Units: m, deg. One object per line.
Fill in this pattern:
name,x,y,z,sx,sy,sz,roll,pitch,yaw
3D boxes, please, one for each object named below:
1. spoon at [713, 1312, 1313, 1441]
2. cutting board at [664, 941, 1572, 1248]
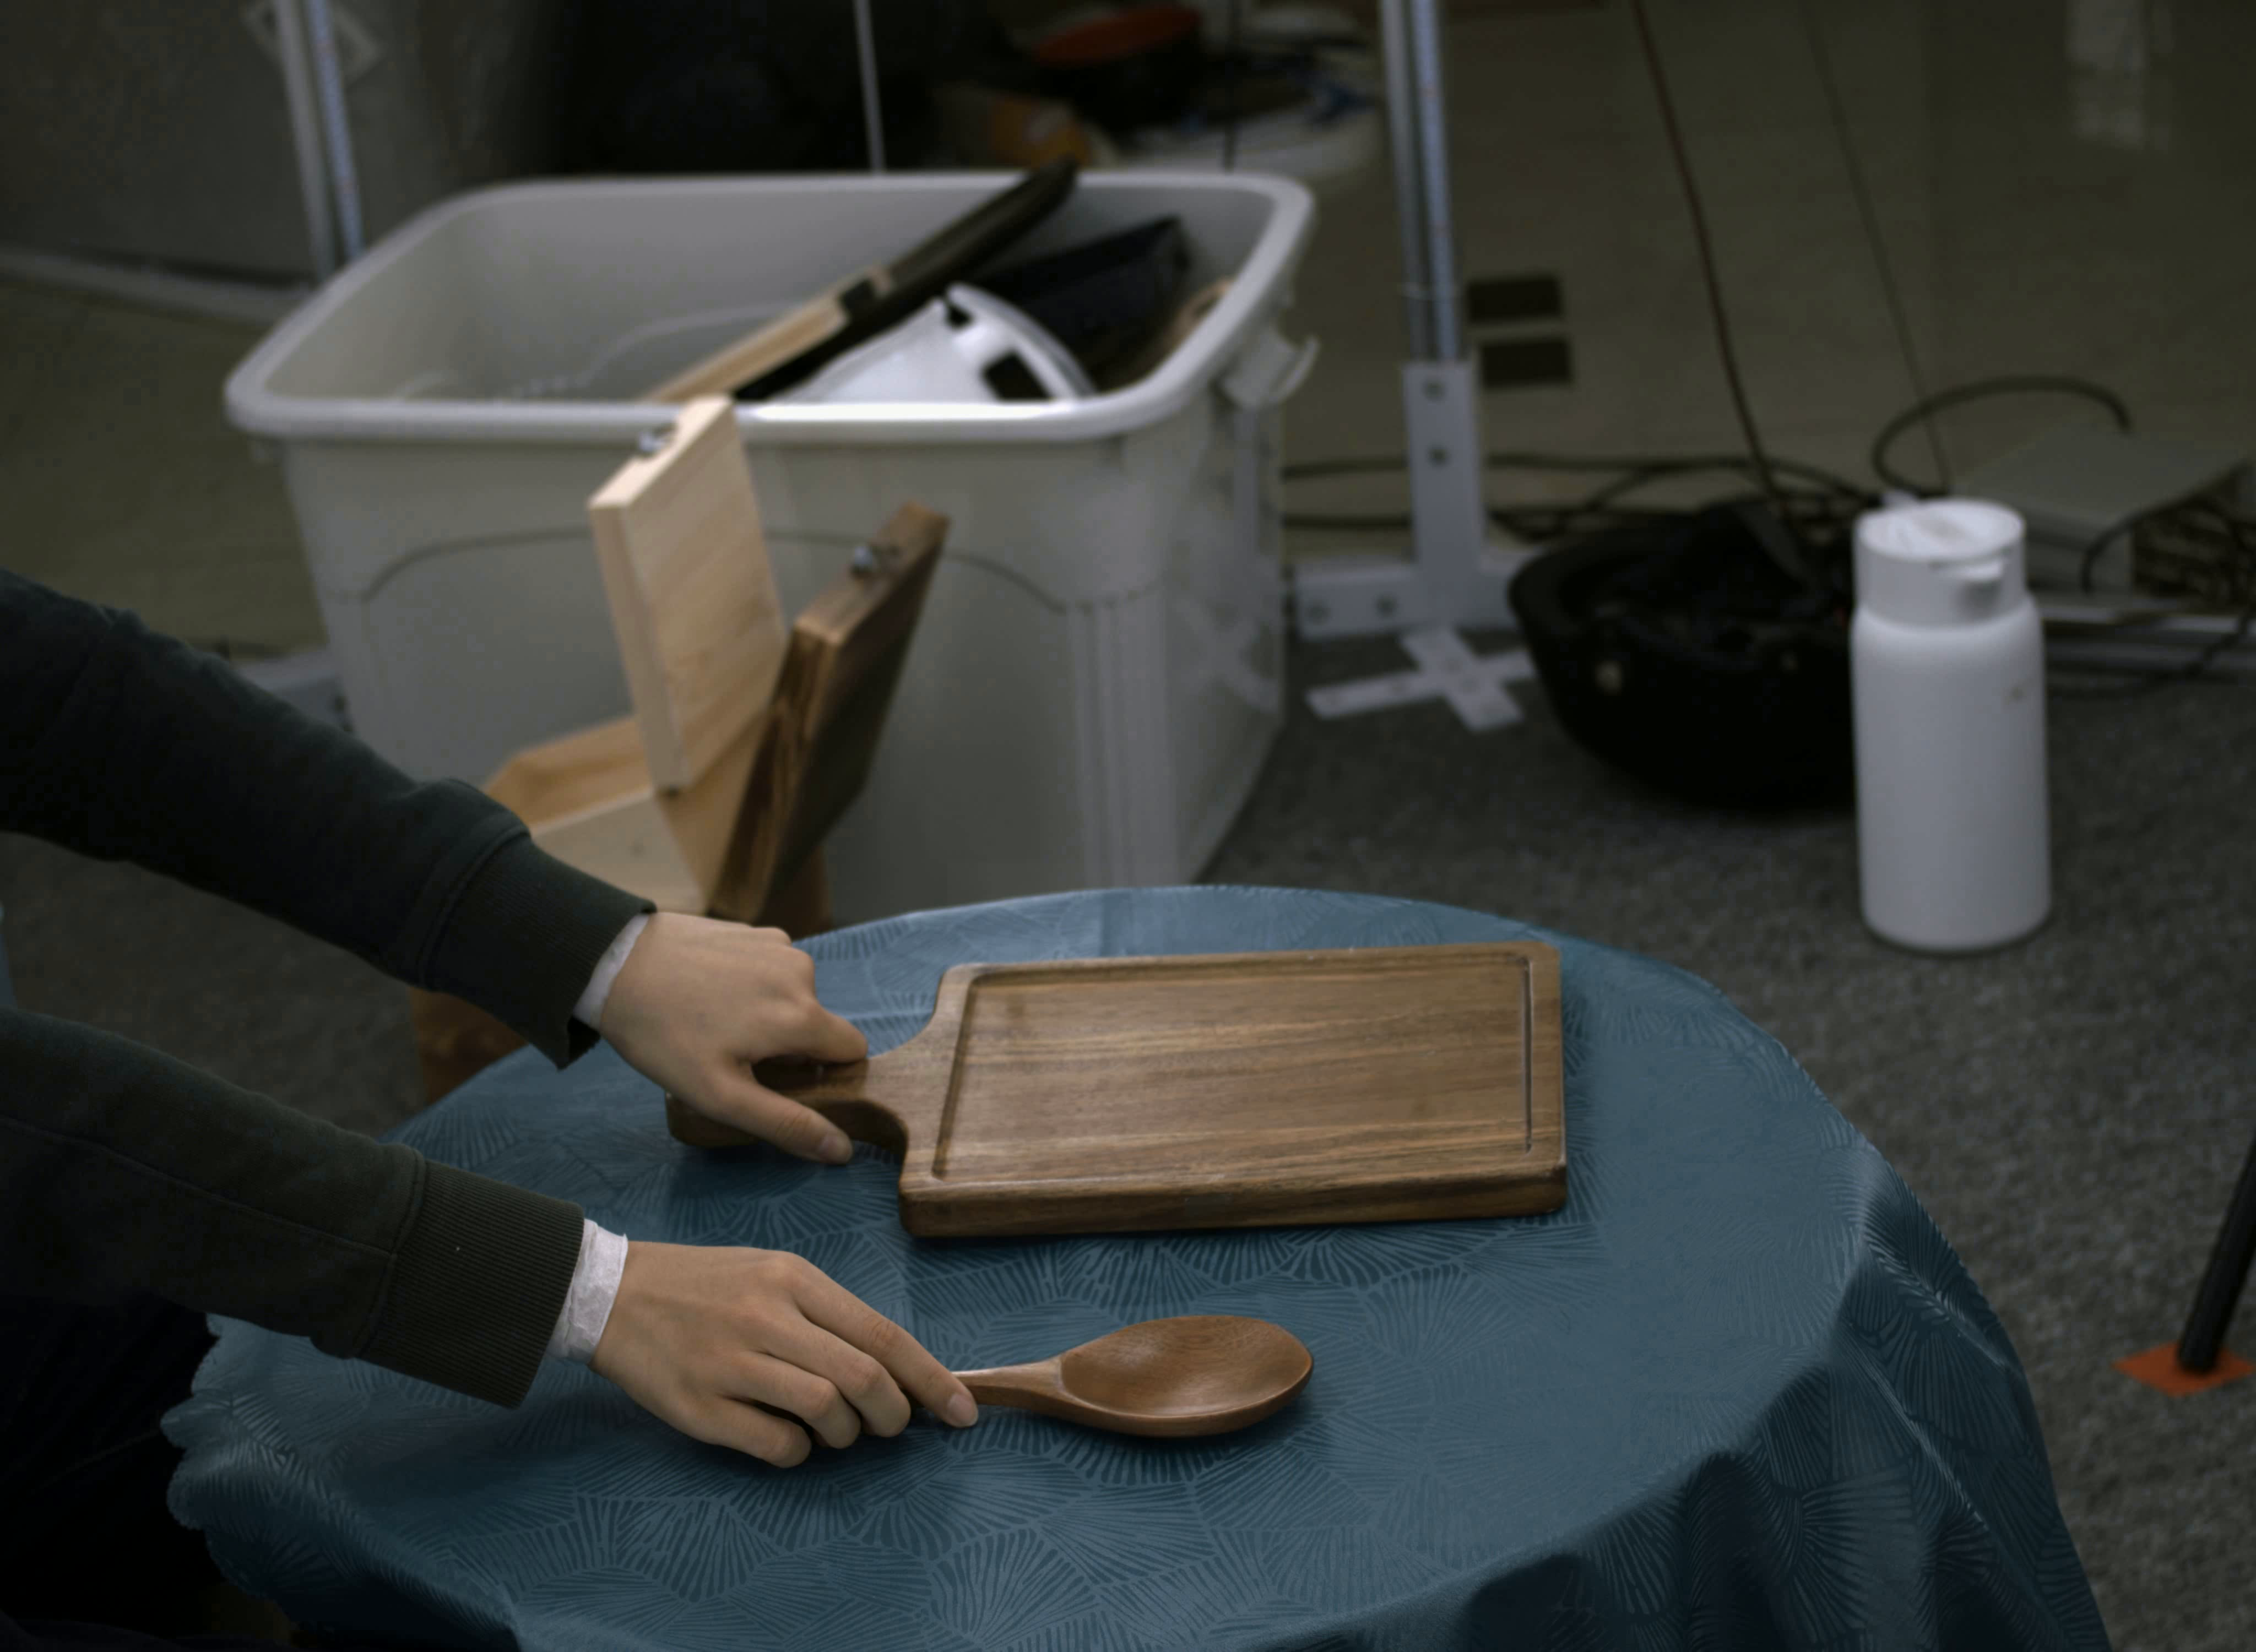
spoon,-0.041,0.199,2.013,0.215,0.017,0.074,-2,27,8
cutting board,-0.005,0.104,2.198,0.351,0.023,0.198,-3,27,5
